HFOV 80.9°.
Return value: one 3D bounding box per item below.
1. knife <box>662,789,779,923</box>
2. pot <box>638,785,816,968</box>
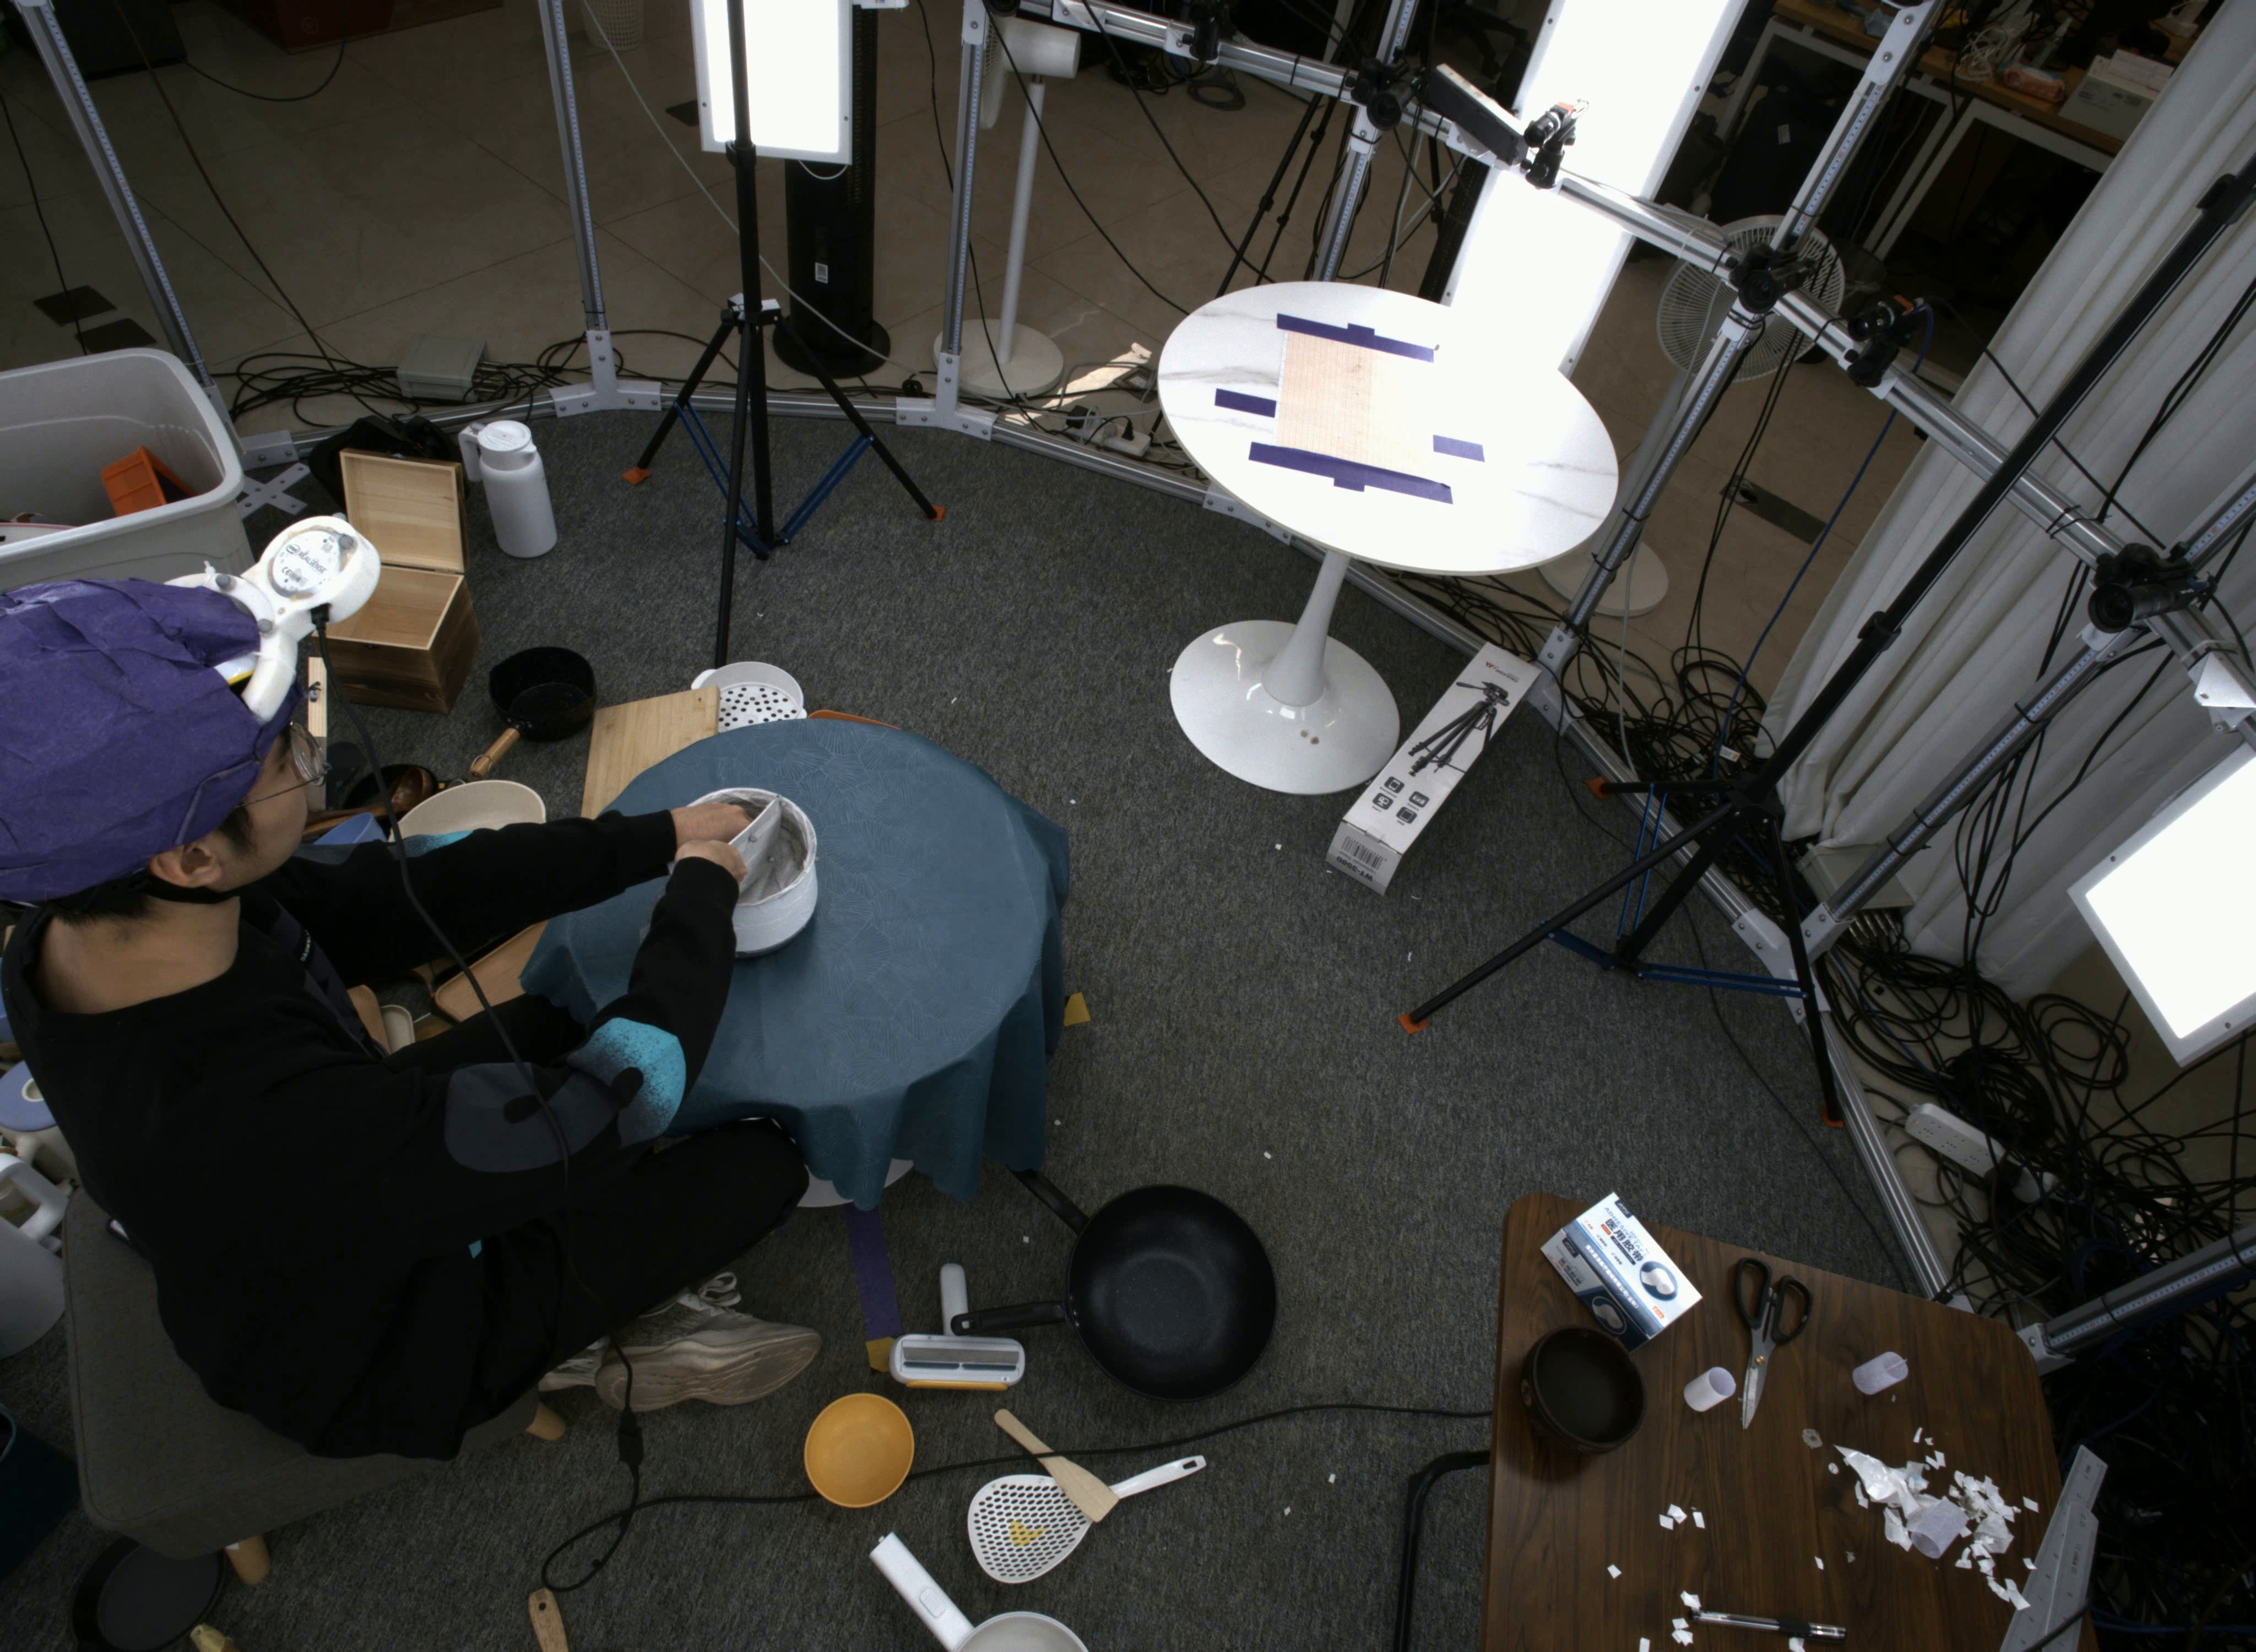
[{"bbox_3d":[-0.445,0.038,1.439,0.021,0.116,0.312,14,15,2],"label":"knife"},{"bbox_3d":[-0.487,0.073,1.552,0.175,0.139,0.234,39,53,17],"label":"pot"}]
